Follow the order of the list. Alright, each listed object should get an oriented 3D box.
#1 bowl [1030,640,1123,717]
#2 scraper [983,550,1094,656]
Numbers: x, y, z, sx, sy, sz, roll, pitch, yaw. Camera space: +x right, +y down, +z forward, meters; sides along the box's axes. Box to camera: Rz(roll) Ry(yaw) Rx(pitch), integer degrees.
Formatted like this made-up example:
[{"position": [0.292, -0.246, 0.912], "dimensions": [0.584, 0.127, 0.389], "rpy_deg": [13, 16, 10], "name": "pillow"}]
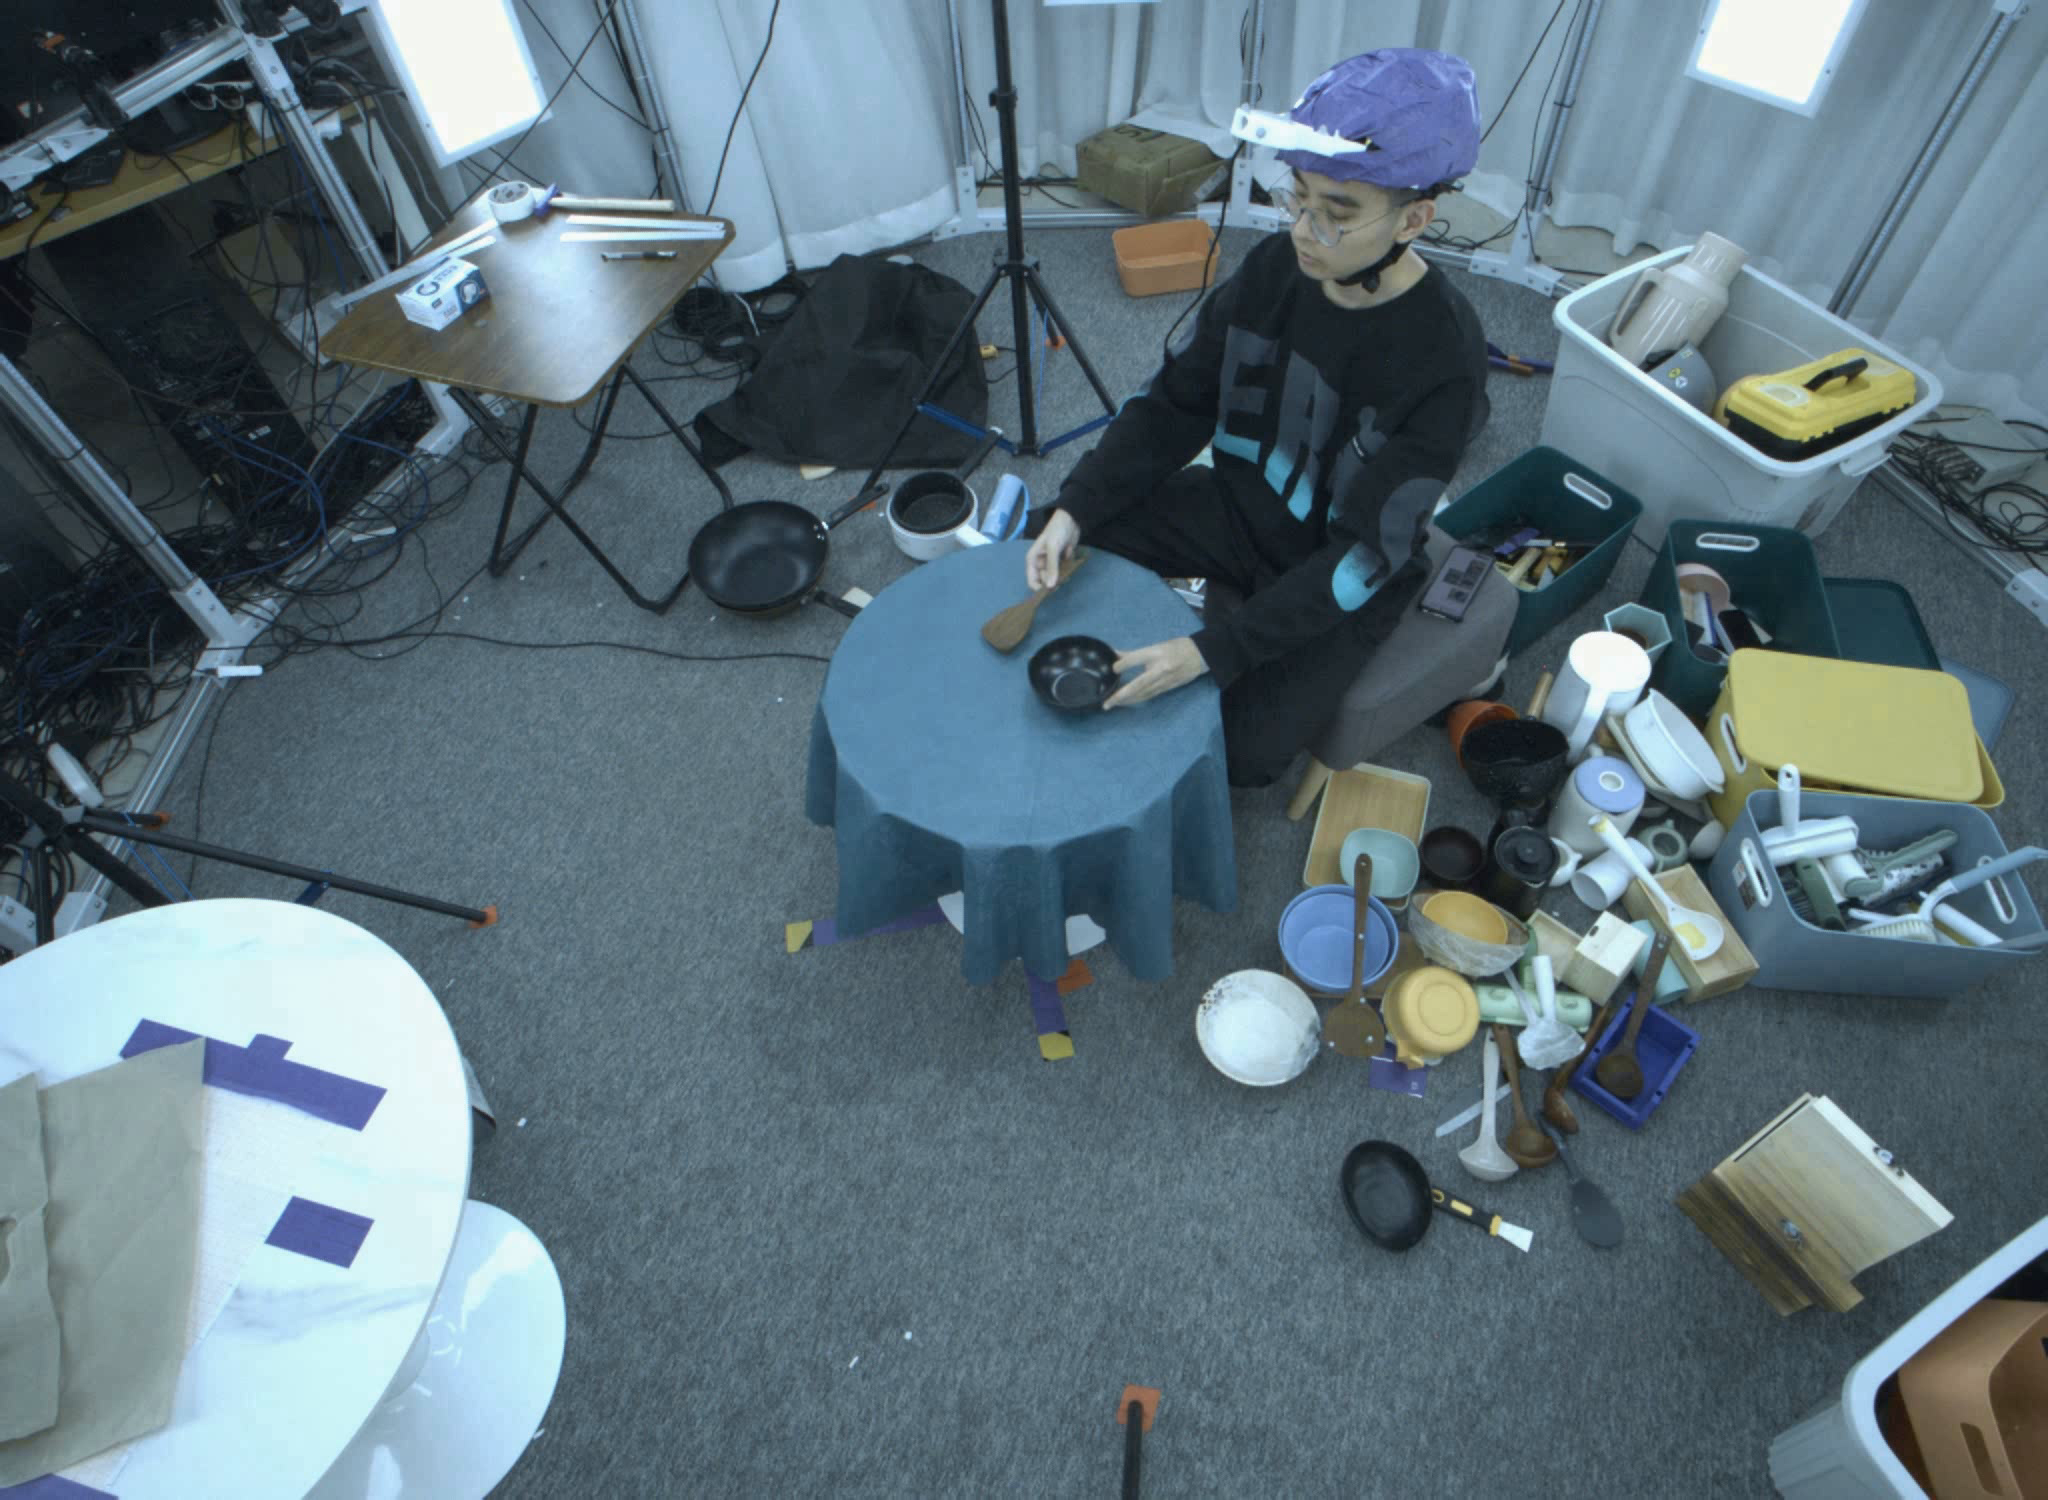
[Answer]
[{"position": [0.079, -0.097, 1.833], "dimensions": [0.139, 0.050, 0.138], "rpy_deg": [-2, 52, 4], "name": "bowl"}, {"position": [0.027, -0.233, 1.906], "dimensions": [0.211, 0.011, 0.074], "rpy_deg": [-45, 59, -2], "name": "scraper"}]
